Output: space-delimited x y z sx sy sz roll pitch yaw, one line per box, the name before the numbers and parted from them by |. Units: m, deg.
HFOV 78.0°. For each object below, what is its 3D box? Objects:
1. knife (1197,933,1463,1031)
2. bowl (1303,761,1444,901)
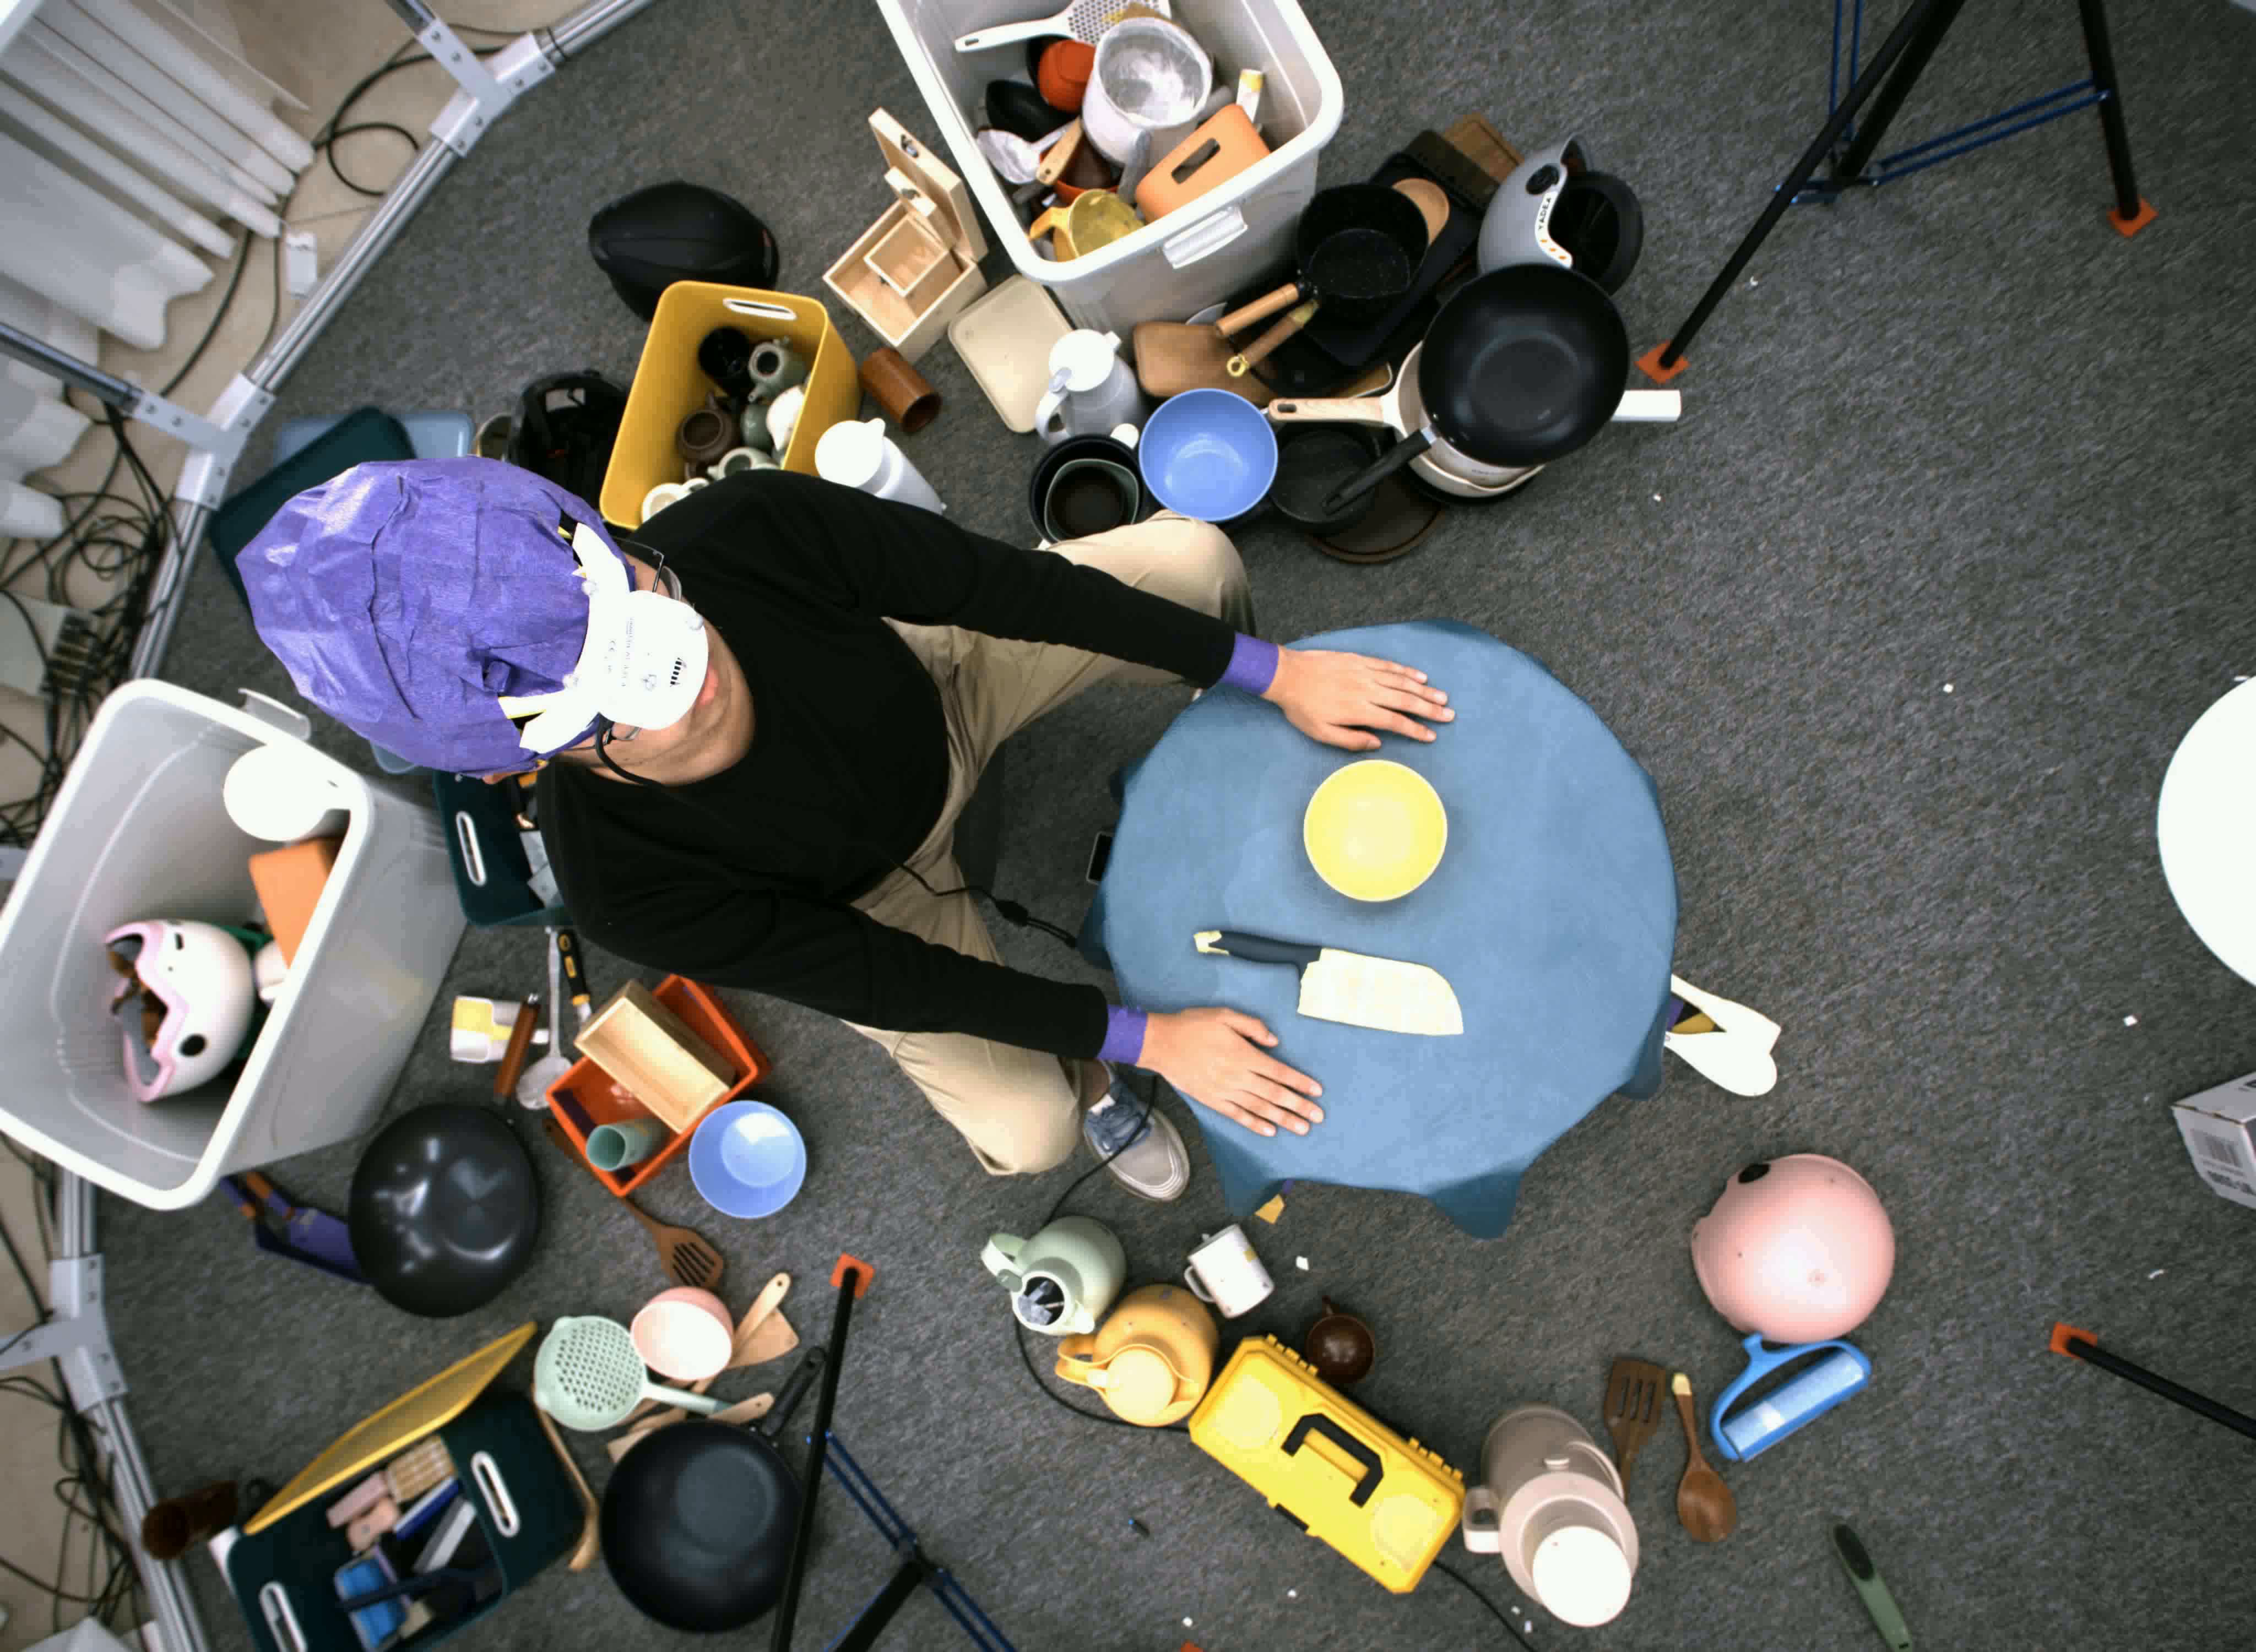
knife | 0.210 0.162 1.461 0.290 0.027 0.081 12 88 10
bowl | 0.255 0.008 1.438 0.146 0.060 0.144 -1 84 10
